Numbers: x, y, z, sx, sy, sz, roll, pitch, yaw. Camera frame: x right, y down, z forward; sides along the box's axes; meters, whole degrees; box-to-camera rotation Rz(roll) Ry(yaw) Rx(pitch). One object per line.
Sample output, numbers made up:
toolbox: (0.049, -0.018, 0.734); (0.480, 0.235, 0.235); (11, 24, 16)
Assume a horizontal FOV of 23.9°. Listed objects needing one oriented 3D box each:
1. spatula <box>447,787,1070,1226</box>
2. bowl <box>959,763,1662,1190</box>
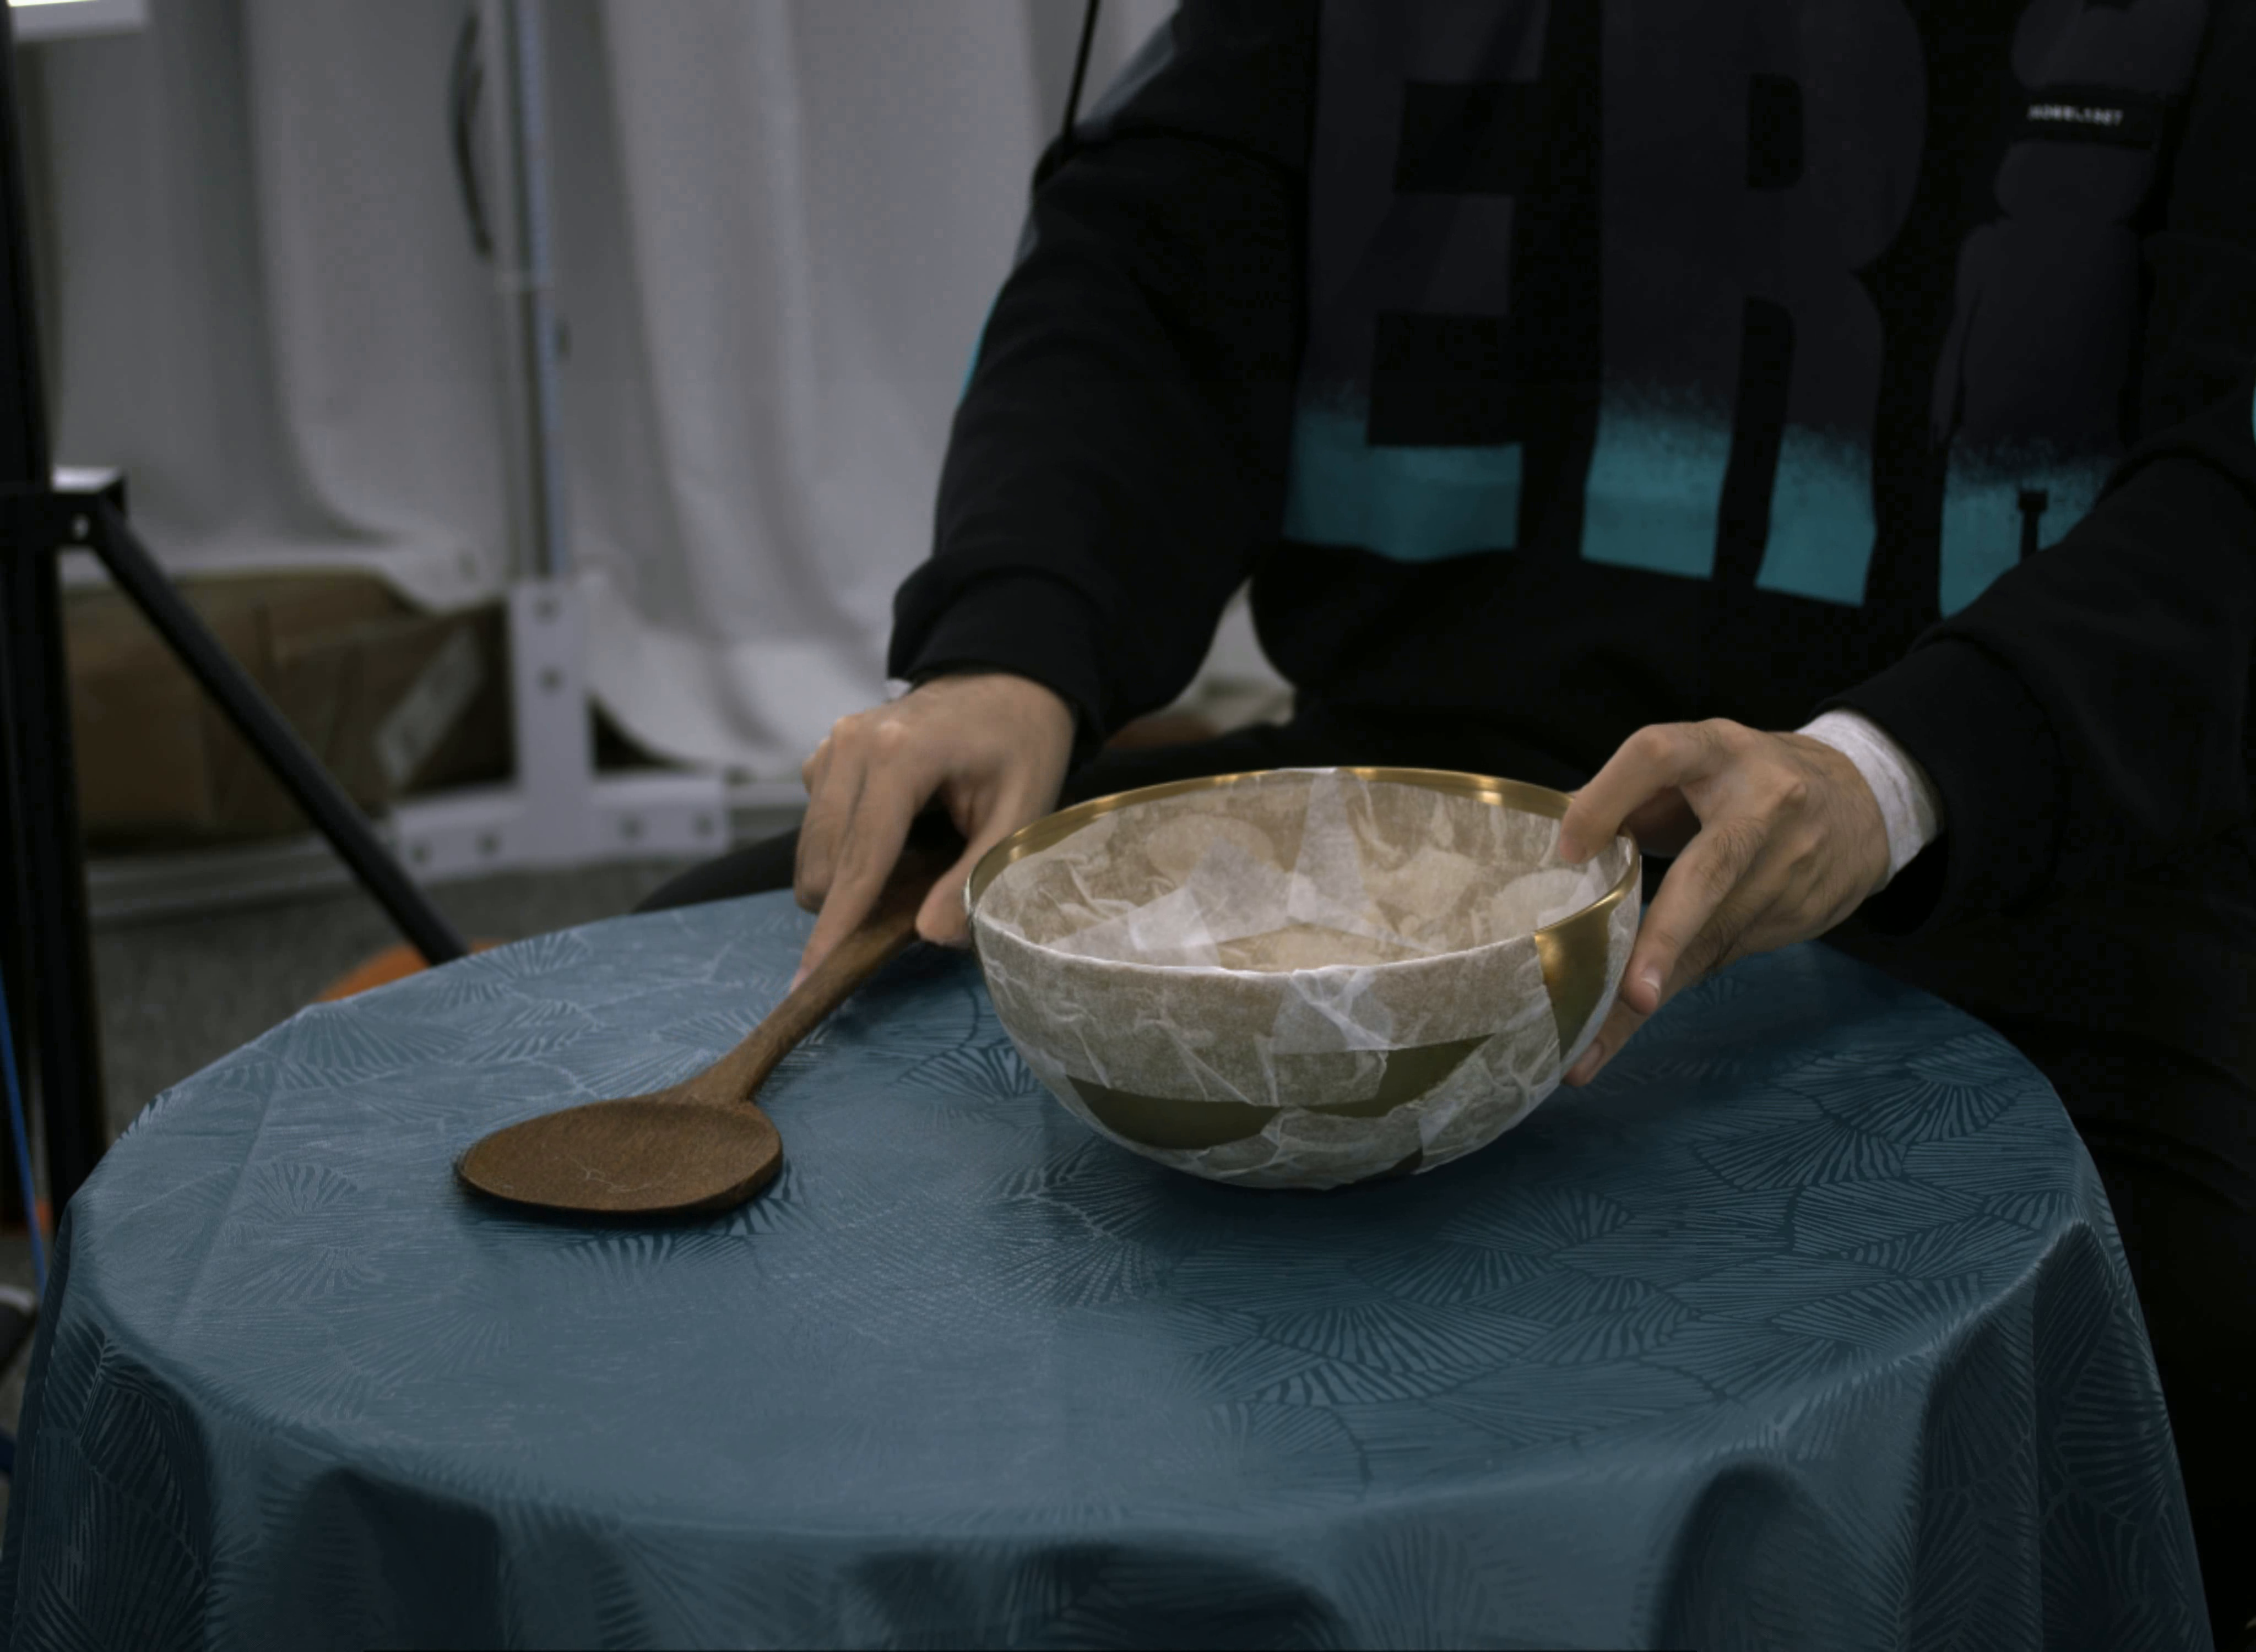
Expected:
spatula: (-0.097, 0.051, 1.719); (0.097, 0.016, 0.381); (4, 21, 21)
bowl: (0.056, 0.053, 1.573); (0.214, 0.094, 0.216); (-4, 15, 0)
